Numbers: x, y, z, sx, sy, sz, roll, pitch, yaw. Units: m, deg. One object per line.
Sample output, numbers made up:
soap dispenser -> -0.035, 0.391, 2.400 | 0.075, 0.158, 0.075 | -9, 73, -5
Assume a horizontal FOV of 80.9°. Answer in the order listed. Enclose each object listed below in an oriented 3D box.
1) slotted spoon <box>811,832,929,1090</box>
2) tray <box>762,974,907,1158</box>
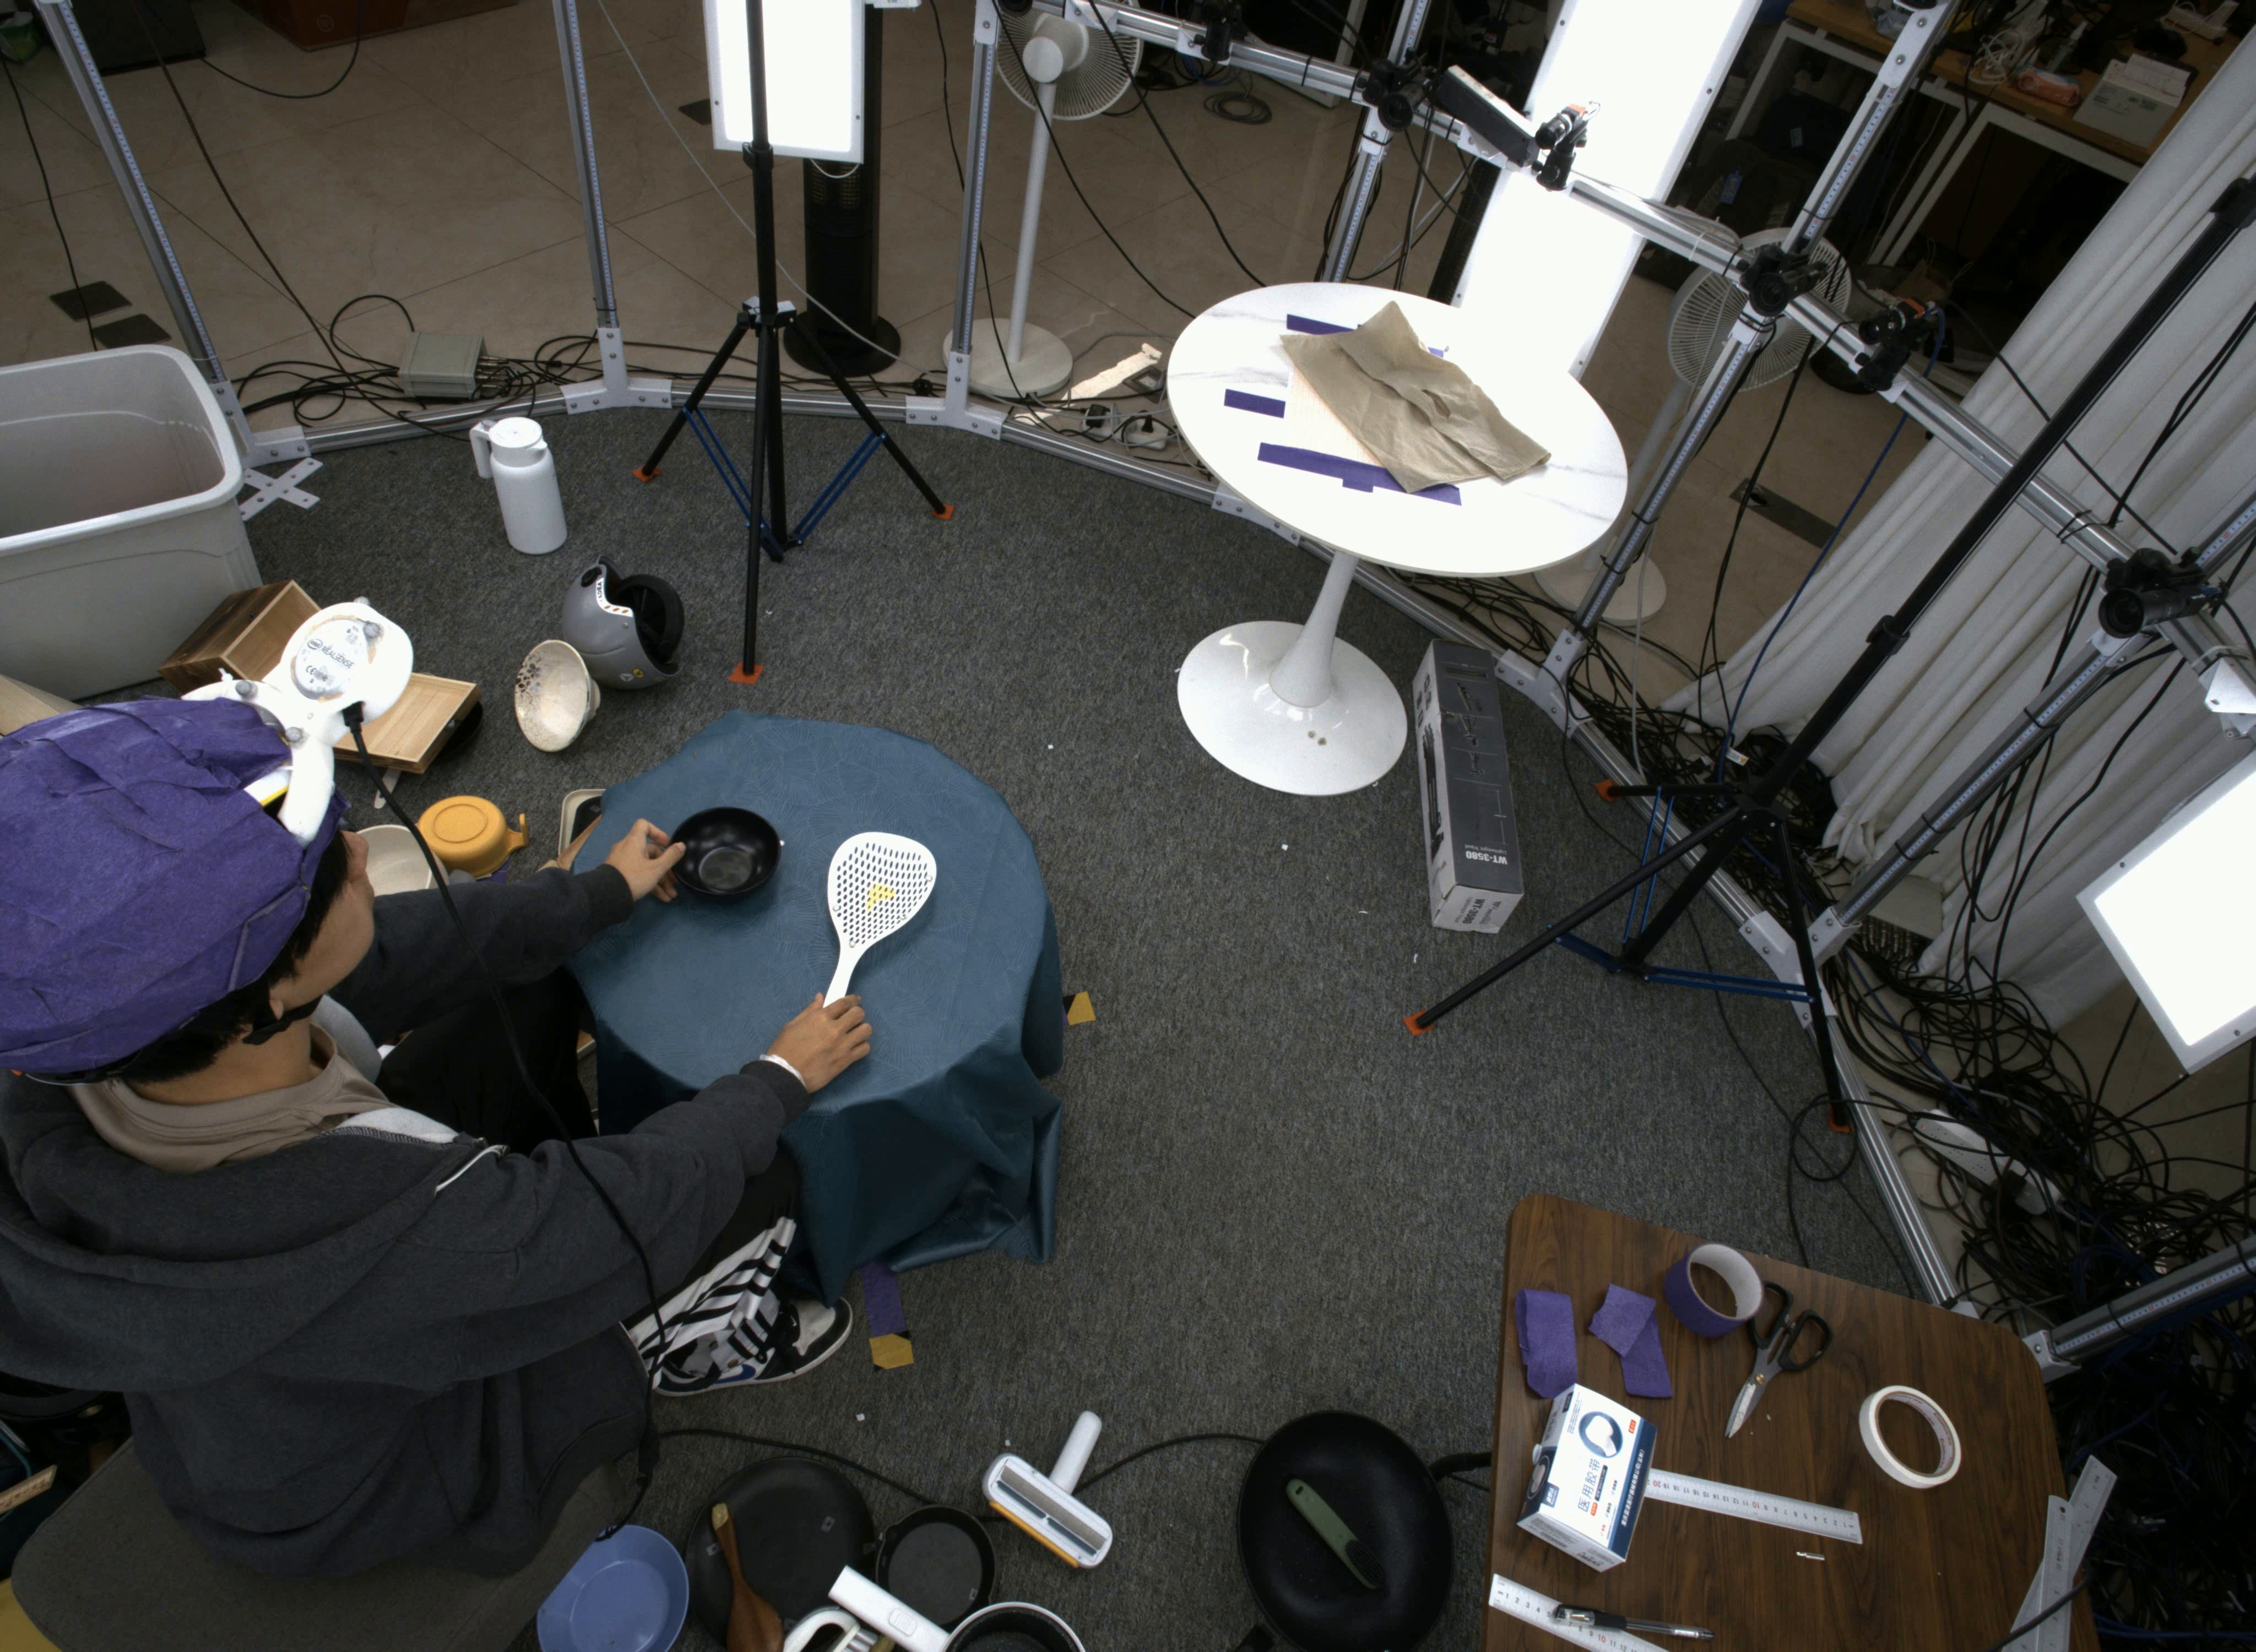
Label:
slotted spoon -> -0.344, 0.157, 1.607 | 0.136, 0.051, 0.343 | 14, 52, -3
tray -> -0.486, 0.385, 2.135 | 0.192, 0.028, 0.293 | -8, 56, -20
